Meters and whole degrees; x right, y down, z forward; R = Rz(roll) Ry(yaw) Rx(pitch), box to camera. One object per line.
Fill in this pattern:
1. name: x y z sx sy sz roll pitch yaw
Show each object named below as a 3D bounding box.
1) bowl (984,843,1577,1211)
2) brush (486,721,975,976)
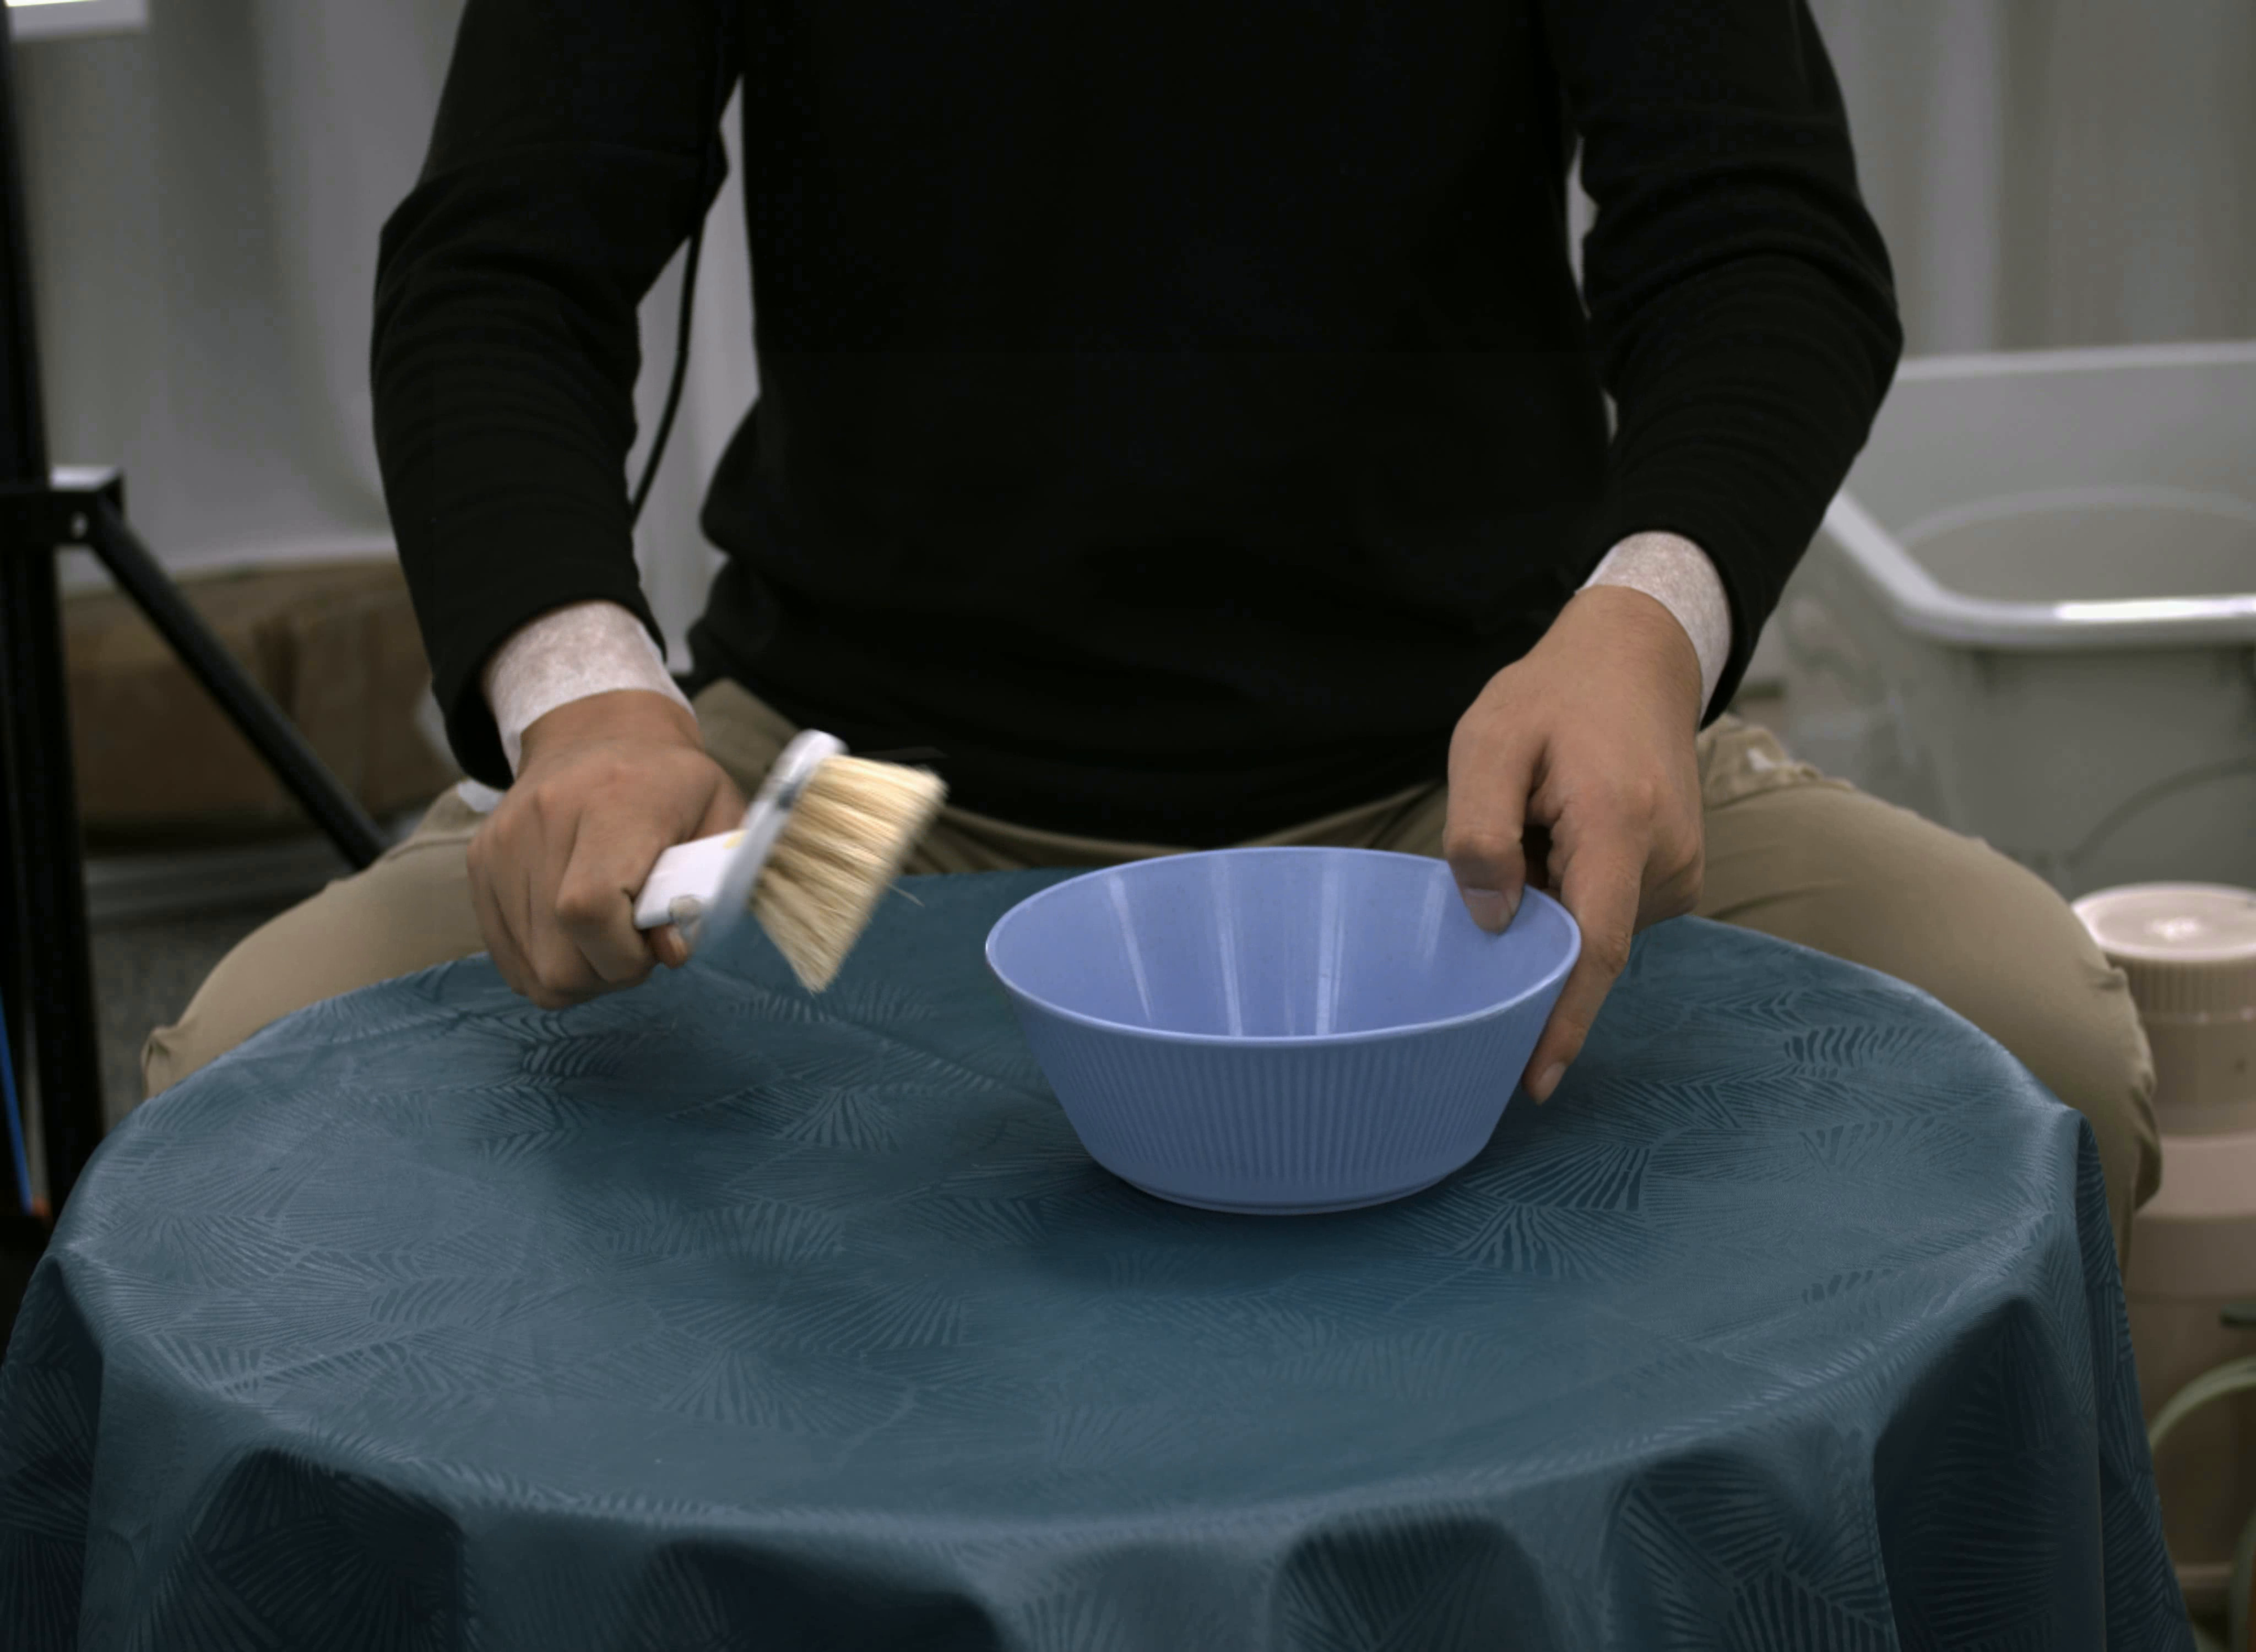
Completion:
1. bowl: 0.045 0.062 1.573 0.175 0.070 0.177 -1 18 -1
2. brush: -0.123 0.020 1.613 0.068 0.055 0.270 -50 14 -26
